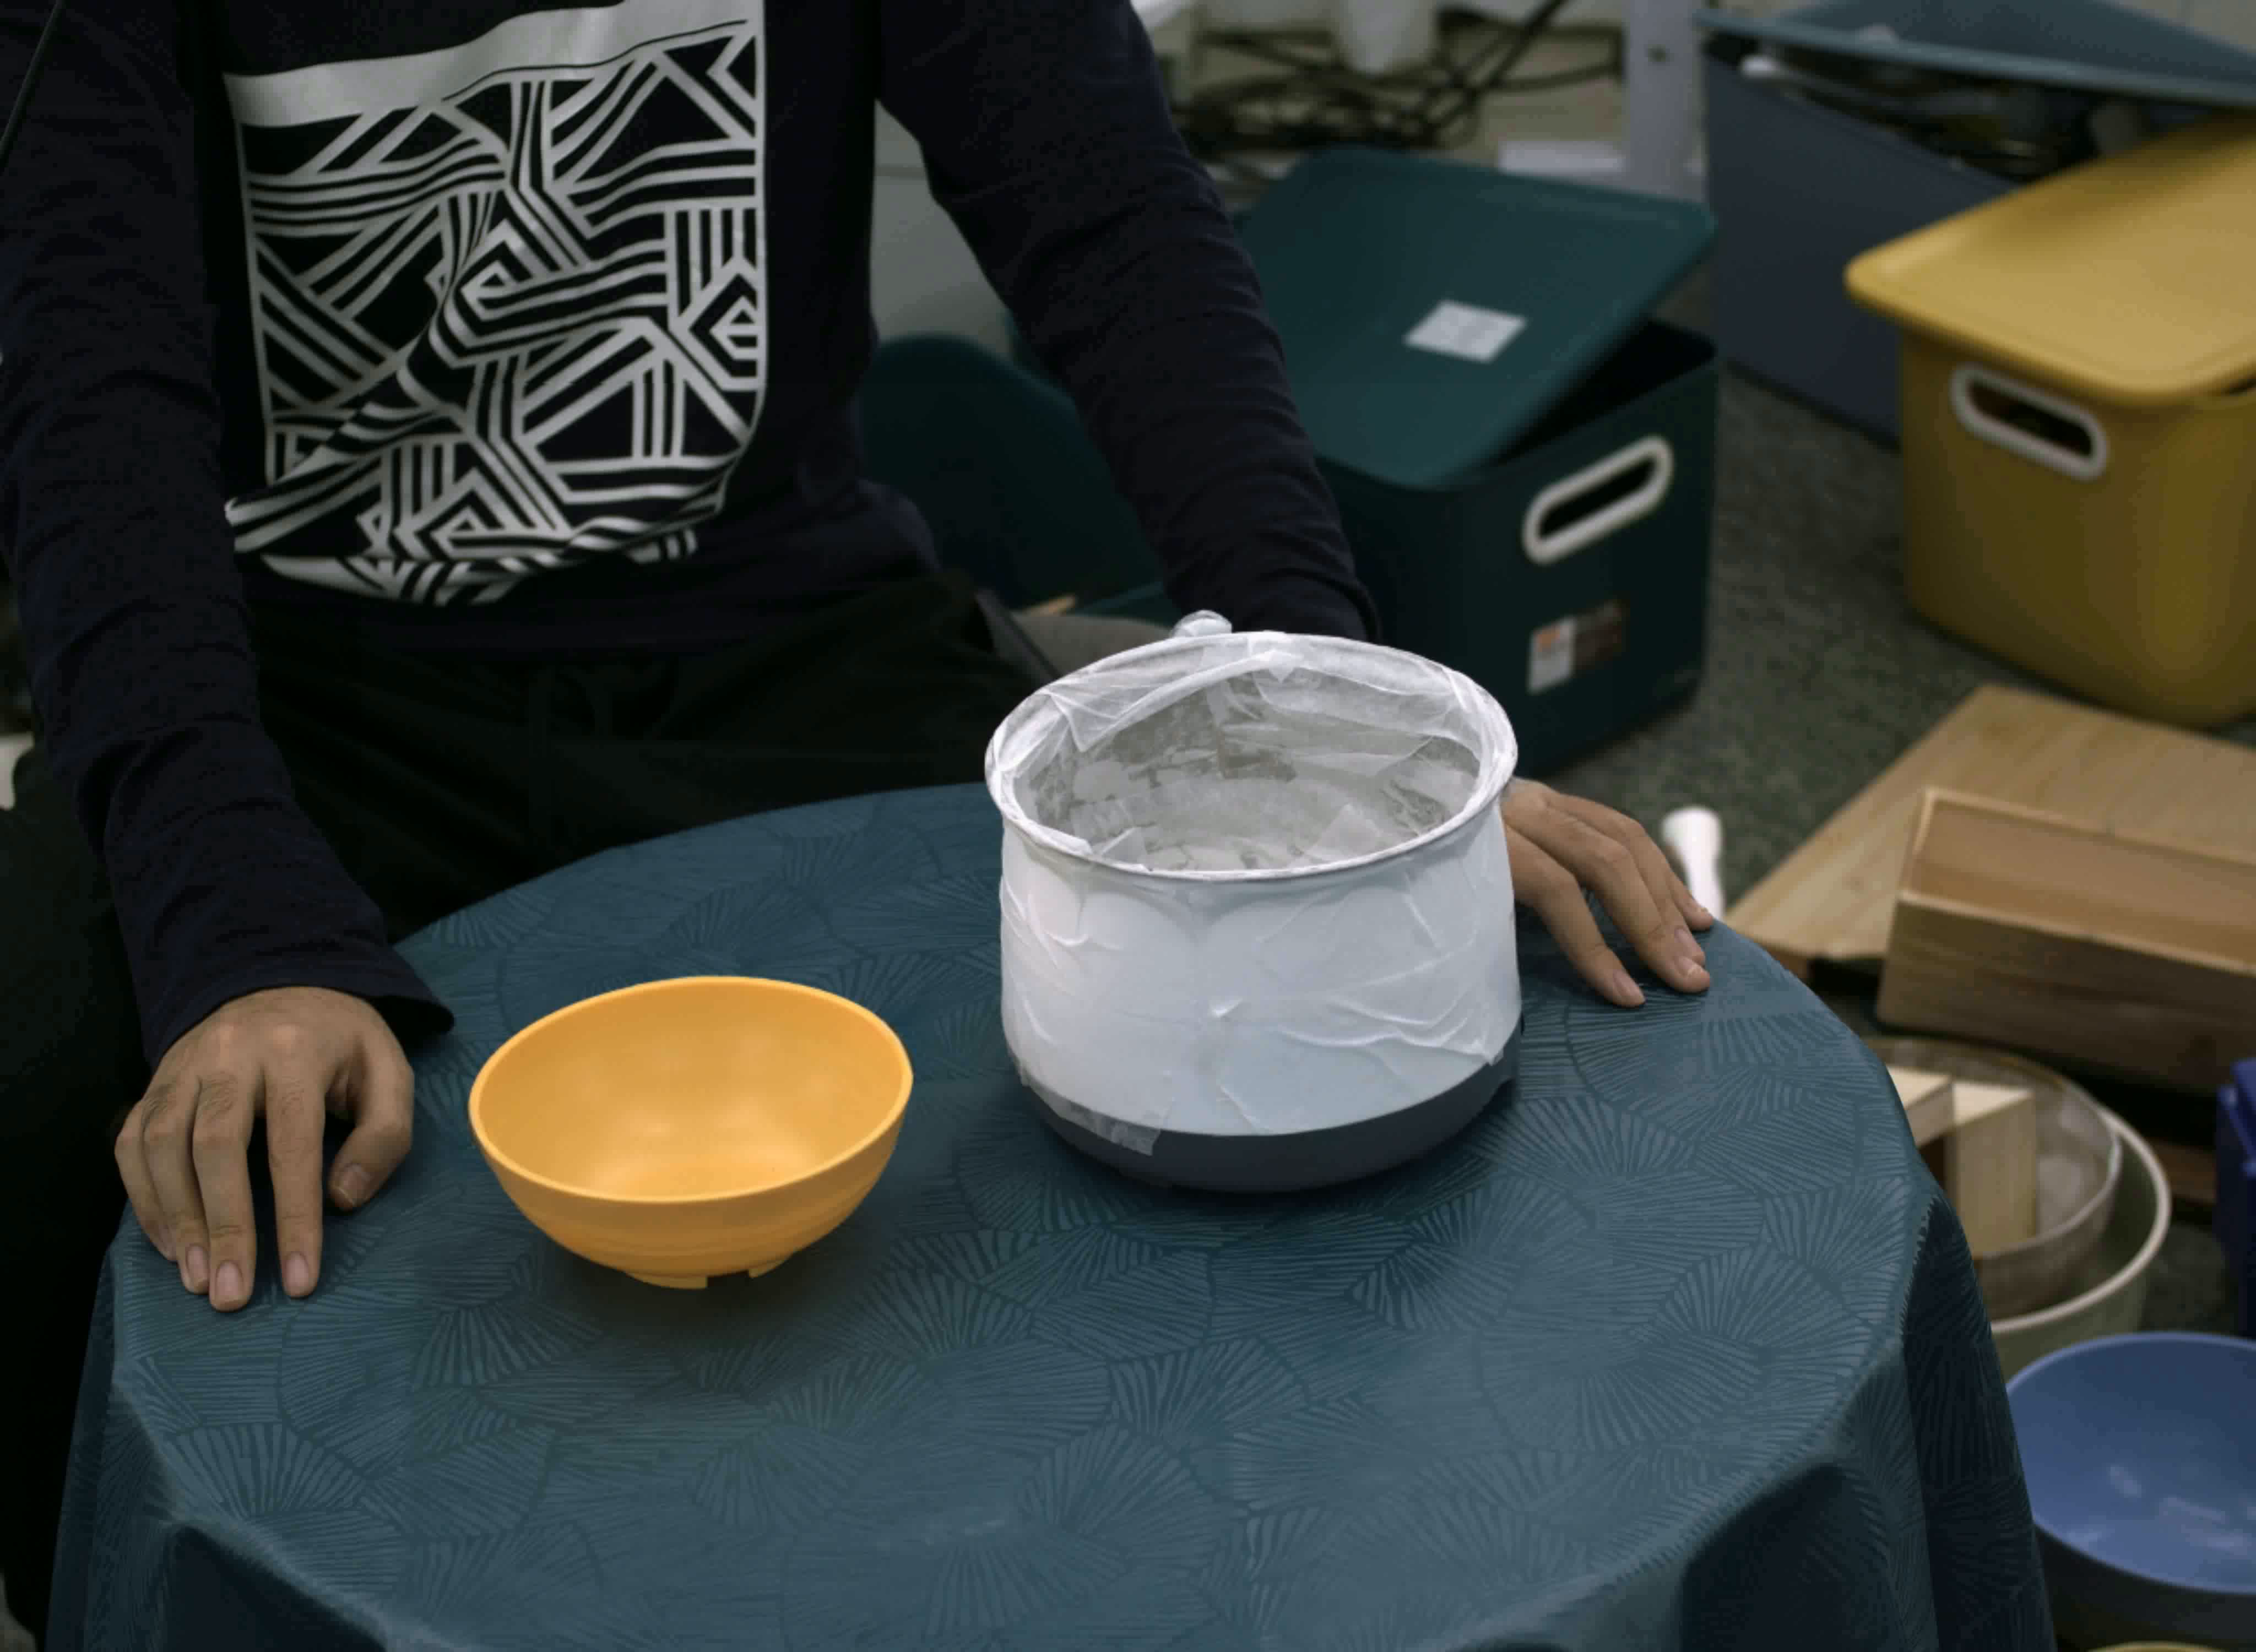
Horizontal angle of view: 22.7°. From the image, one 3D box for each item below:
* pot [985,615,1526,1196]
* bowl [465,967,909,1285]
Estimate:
[{"bbox_3d":[0.040,0.020,1.912,0.178,0.135,0.236,-7,26,-7],"label":"pot"},{"bbox_3d":[-0.142,0.108,1.834,0.144,0.059,0.147,-1,28,1],"label":"bowl"}]
